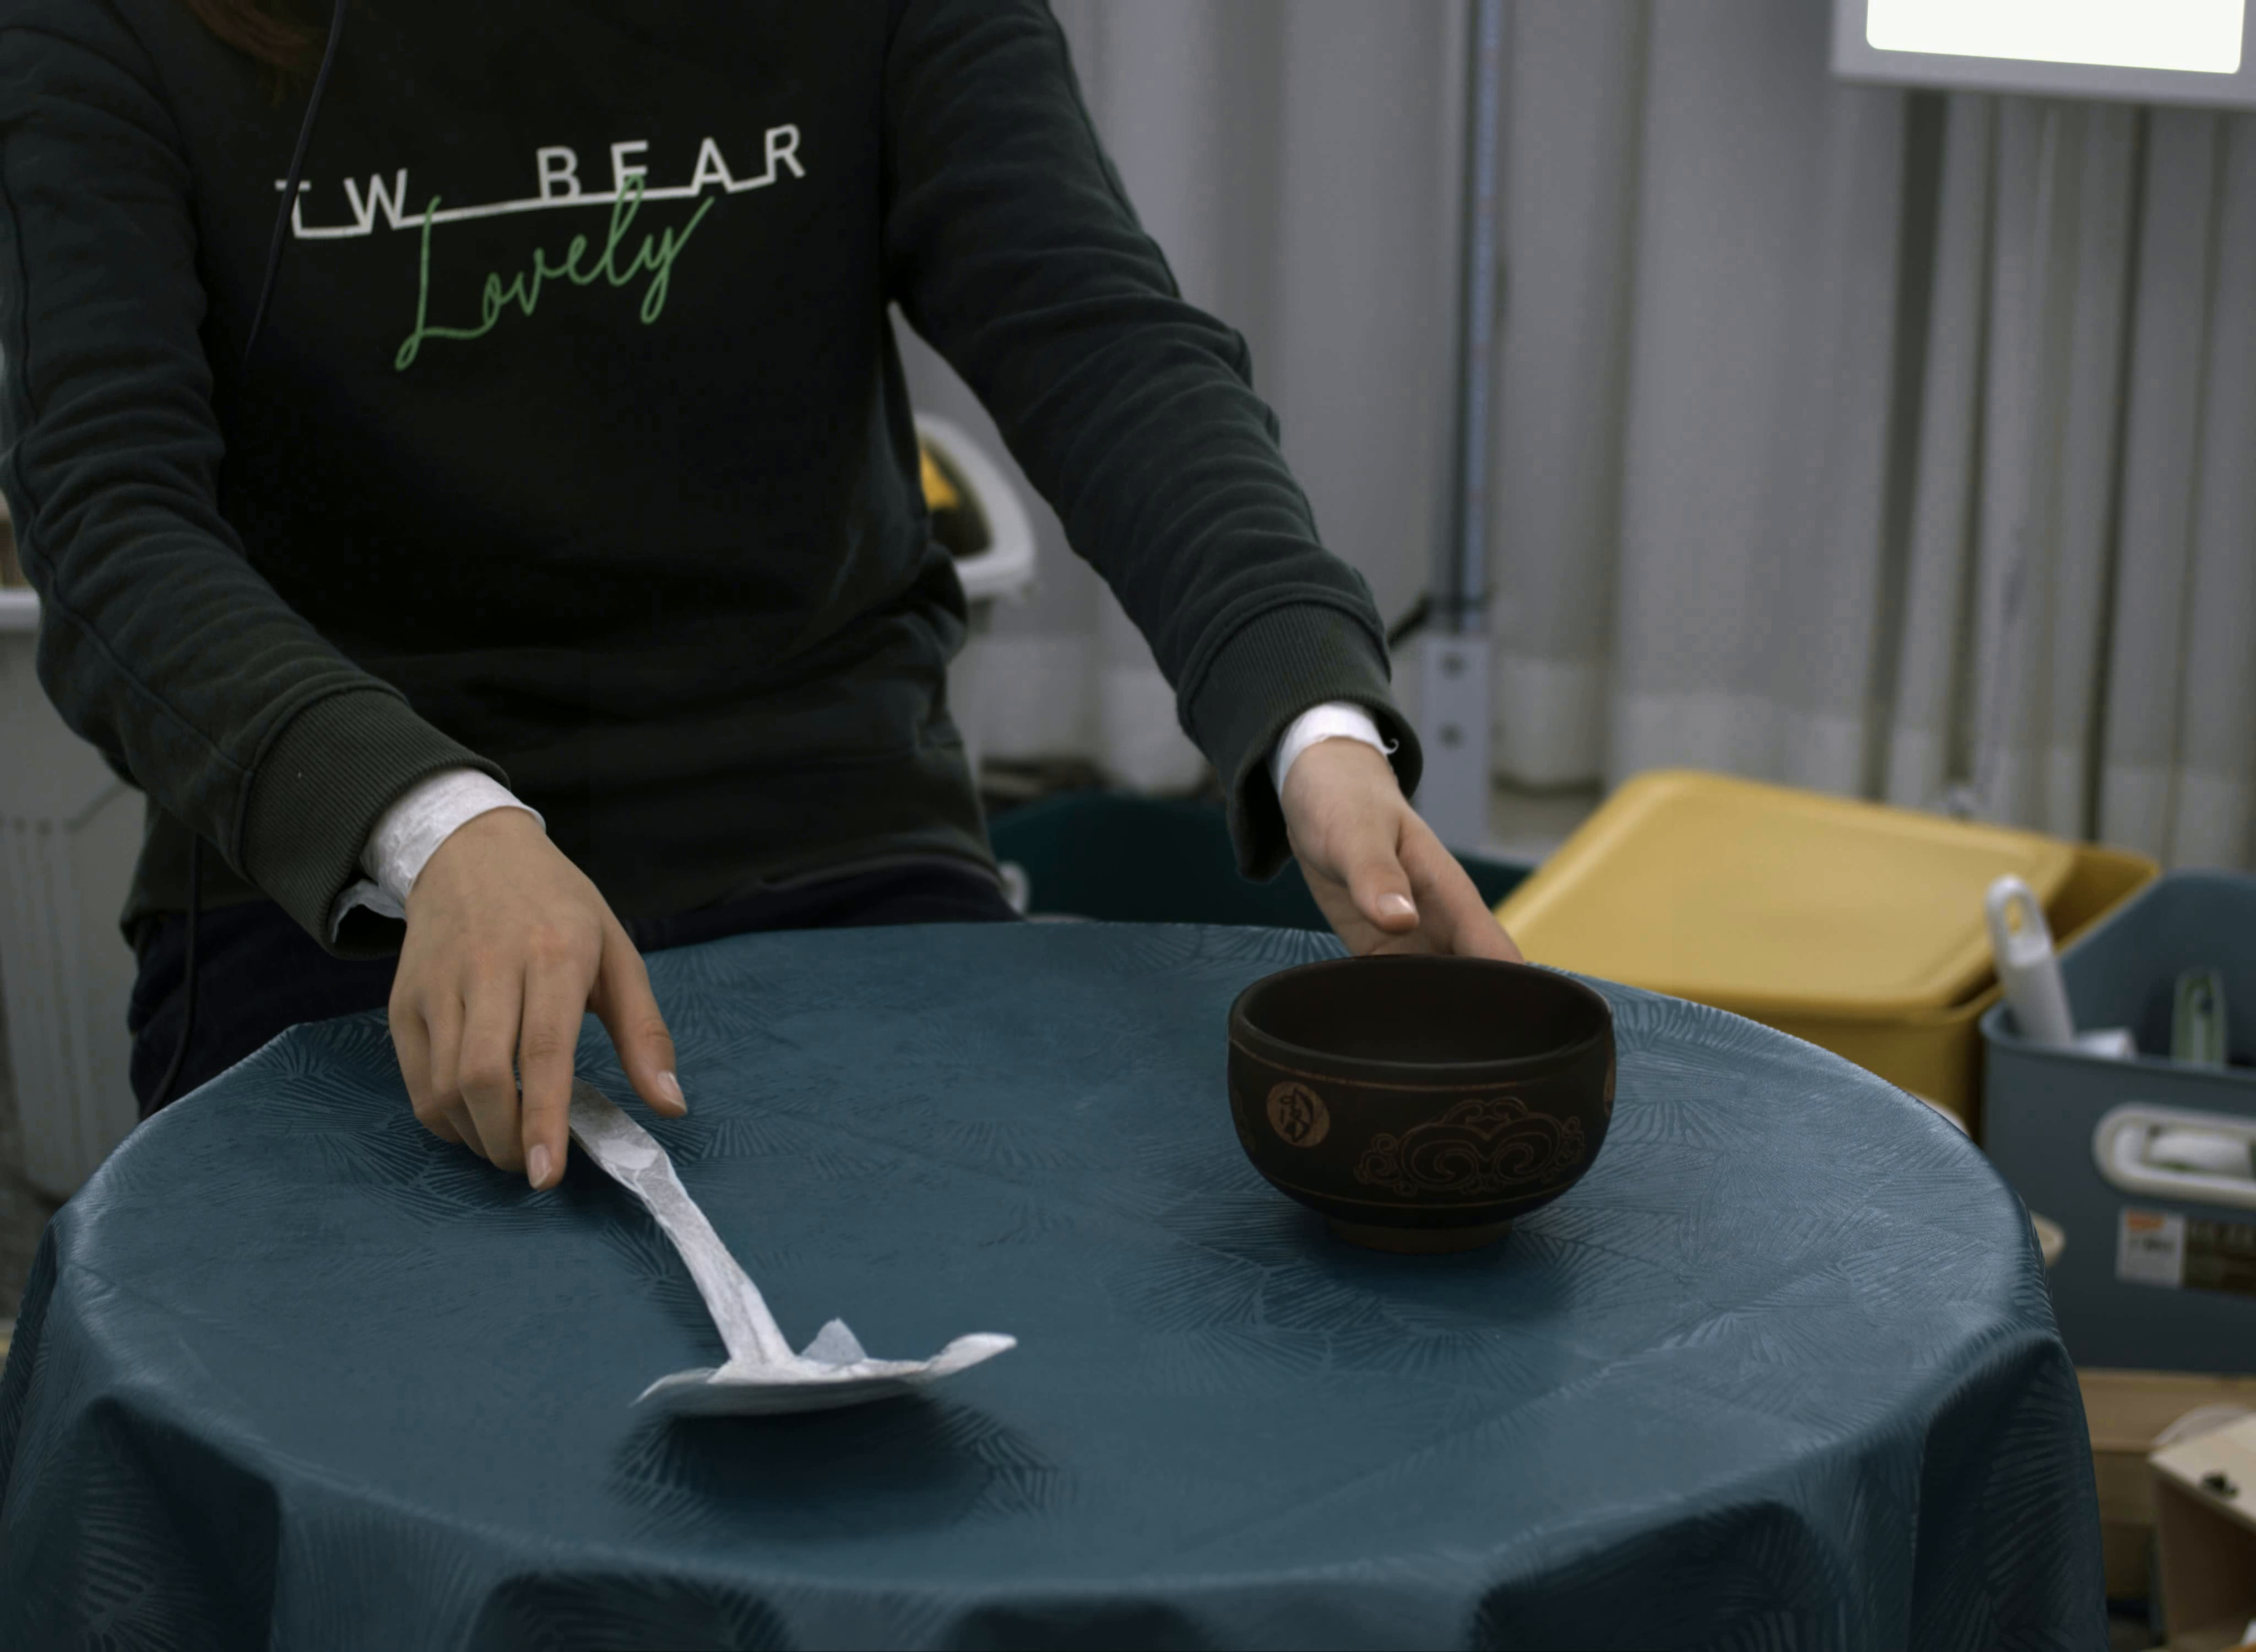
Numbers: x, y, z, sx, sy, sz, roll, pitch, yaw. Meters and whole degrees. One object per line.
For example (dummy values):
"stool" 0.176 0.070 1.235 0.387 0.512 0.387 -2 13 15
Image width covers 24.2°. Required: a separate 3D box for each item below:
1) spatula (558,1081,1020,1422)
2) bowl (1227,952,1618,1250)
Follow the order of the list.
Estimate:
"spatula" -0.124 0.115 1.542 0.099 0.045 0.361 -7 18 -17
"bowl" 0.088 0.086 1.591 0.117 0.070 0.117 2 15 0
